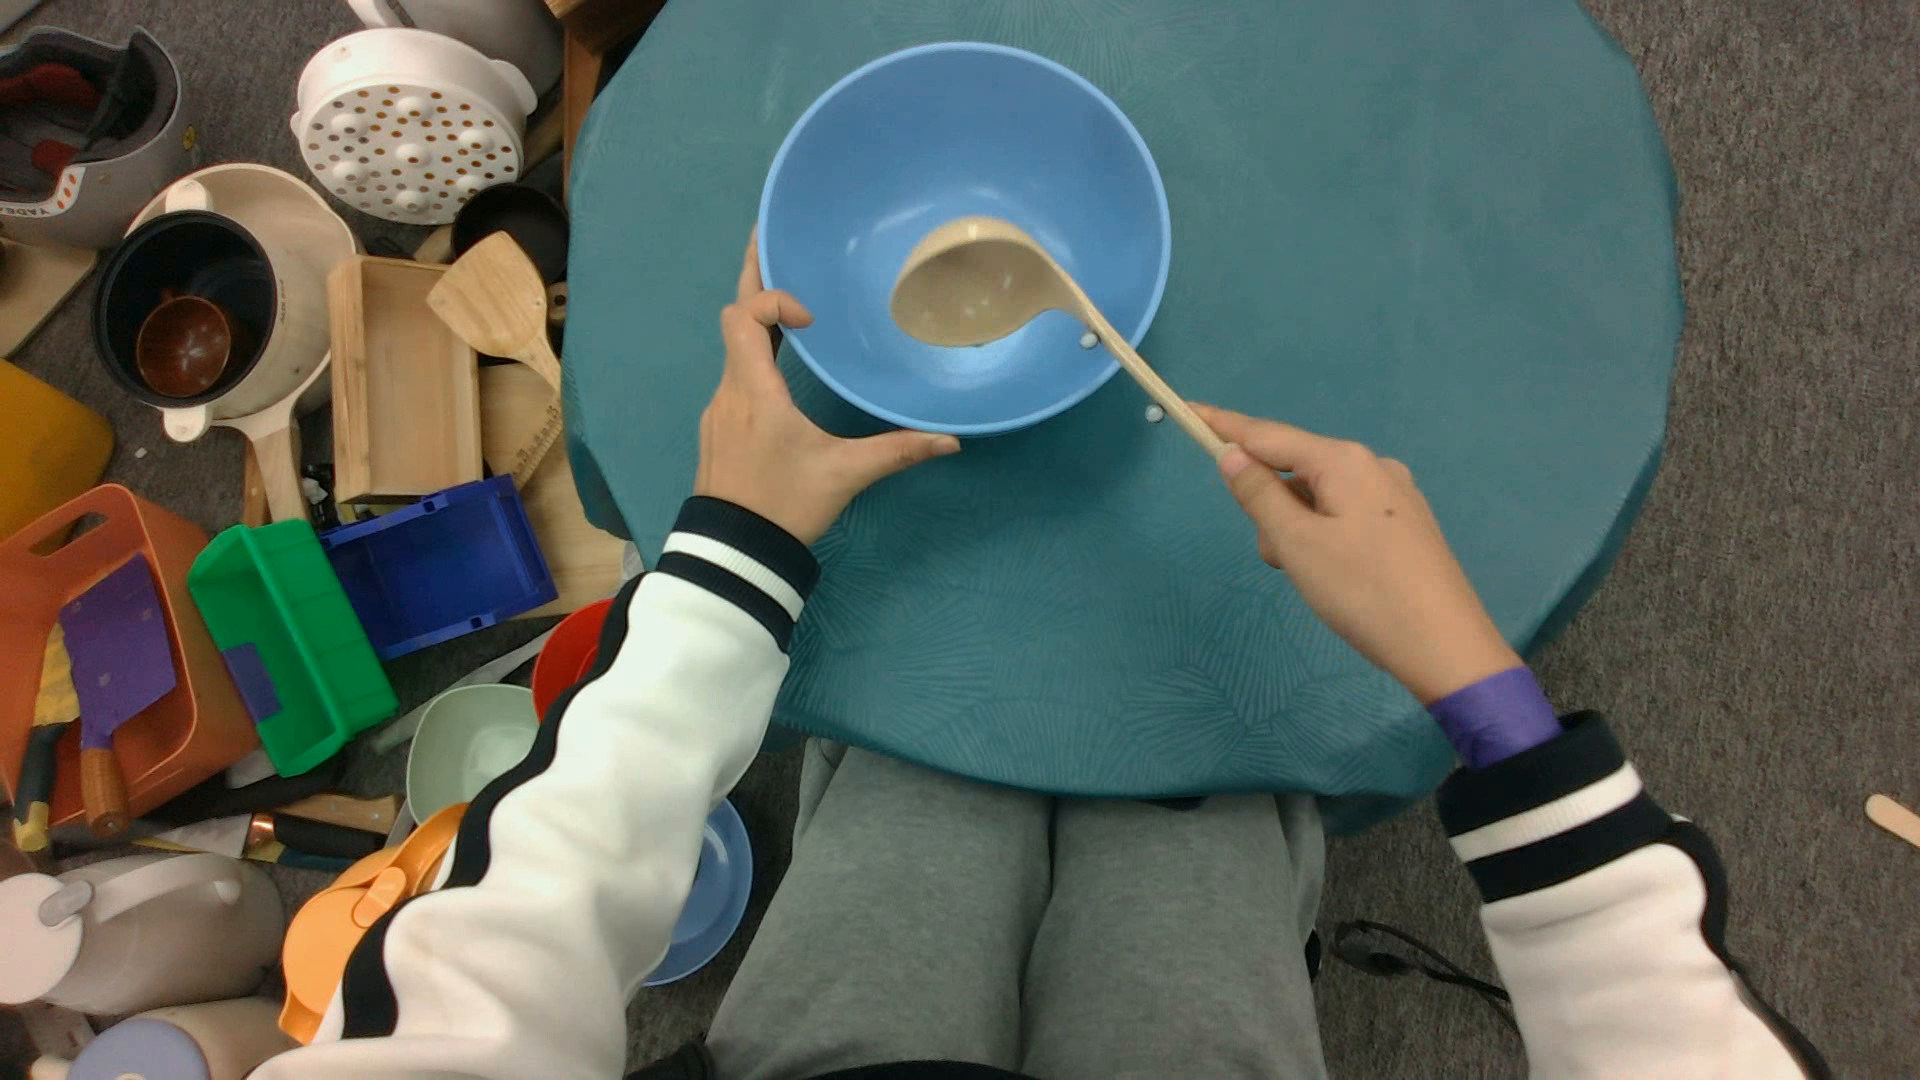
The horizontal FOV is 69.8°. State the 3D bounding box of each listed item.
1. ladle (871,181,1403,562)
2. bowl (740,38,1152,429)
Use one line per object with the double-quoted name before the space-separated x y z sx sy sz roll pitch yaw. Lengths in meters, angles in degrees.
"ladle" 0.062 -0.062 0.564 0.073 0.072 0.254 -22 55 -39
"bowl" -0.008 -0.141 0.698 0.196 0.095 0.197 1 79 -3
